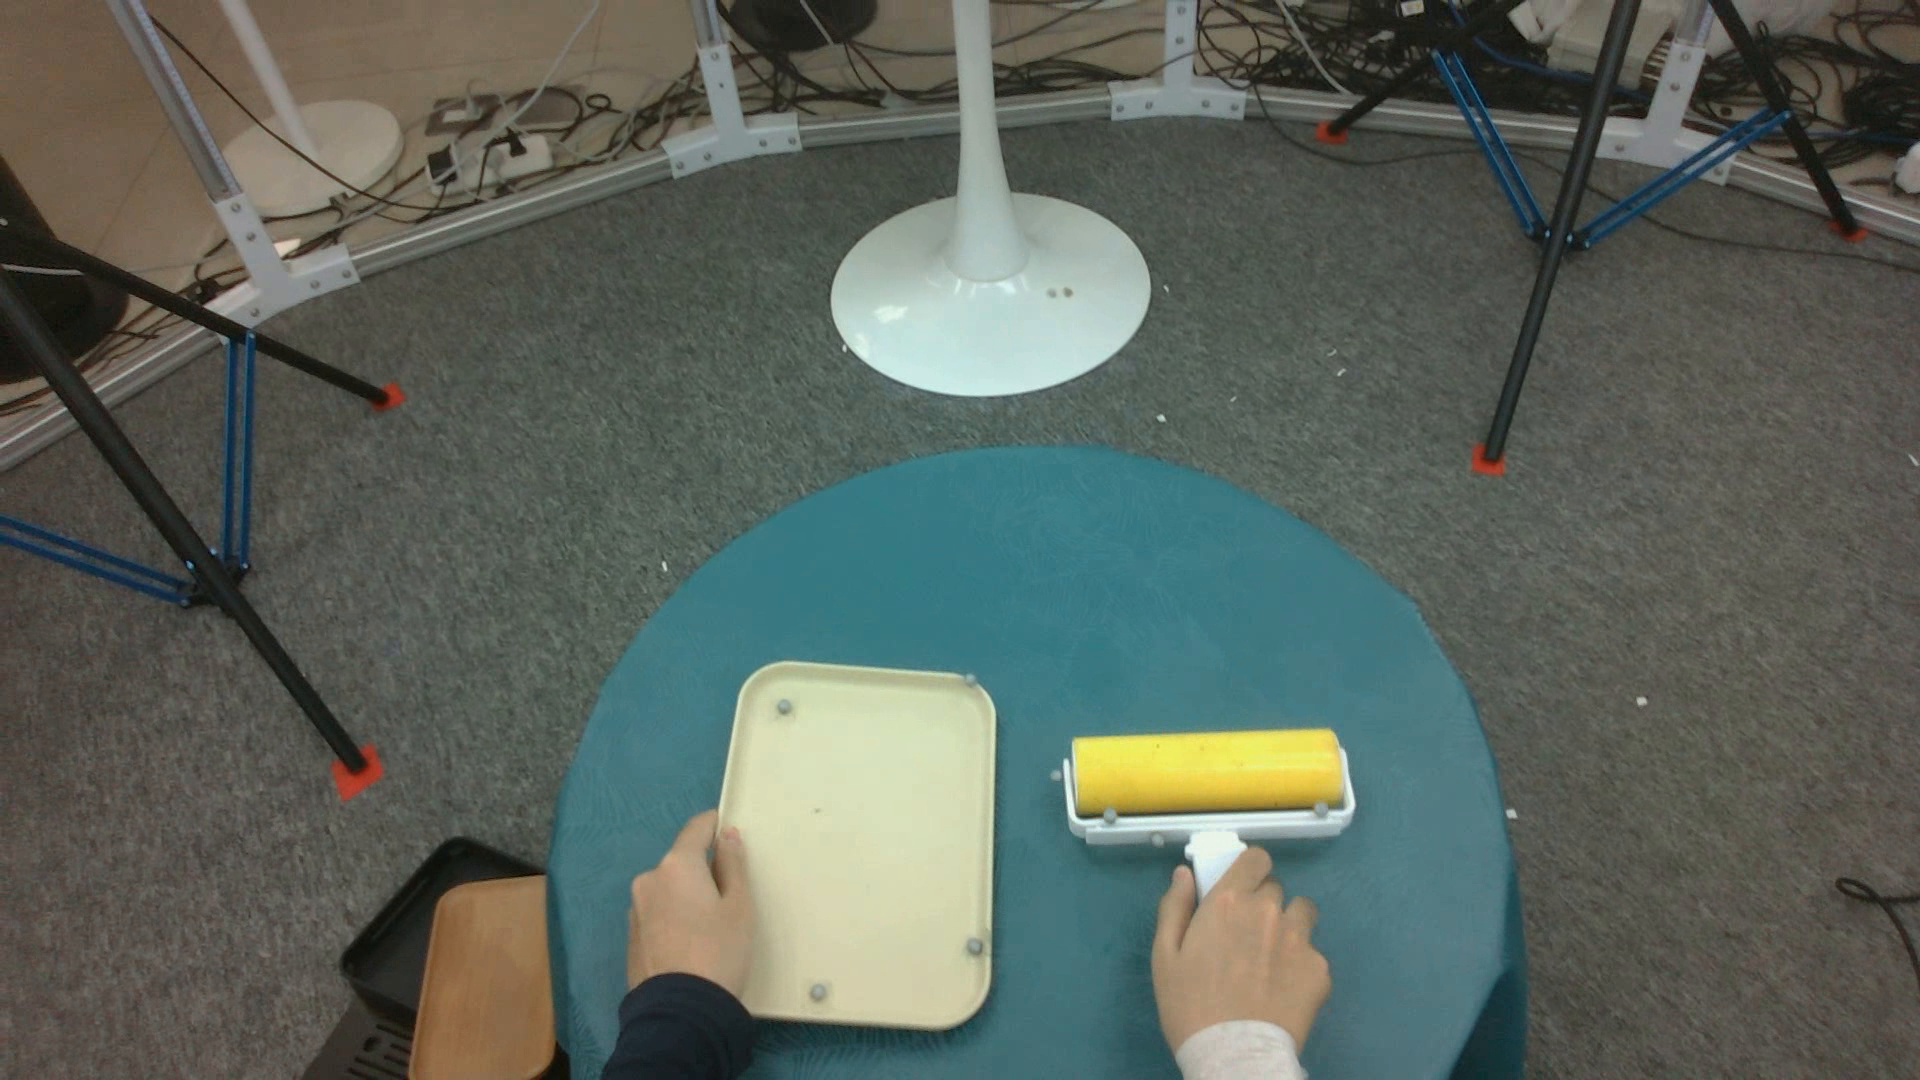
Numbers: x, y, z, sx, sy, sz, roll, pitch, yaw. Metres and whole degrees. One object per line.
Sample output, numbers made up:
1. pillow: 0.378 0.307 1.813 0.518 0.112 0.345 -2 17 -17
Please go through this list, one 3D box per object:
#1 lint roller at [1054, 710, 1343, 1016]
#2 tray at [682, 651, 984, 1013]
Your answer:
1. lint roller: 0.148 0.179 0.799 0.174 0.051 0.193 -4 35 1
2. tray: -0.071 0.172 0.844 0.171 0.017 0.241 4 49 -2
